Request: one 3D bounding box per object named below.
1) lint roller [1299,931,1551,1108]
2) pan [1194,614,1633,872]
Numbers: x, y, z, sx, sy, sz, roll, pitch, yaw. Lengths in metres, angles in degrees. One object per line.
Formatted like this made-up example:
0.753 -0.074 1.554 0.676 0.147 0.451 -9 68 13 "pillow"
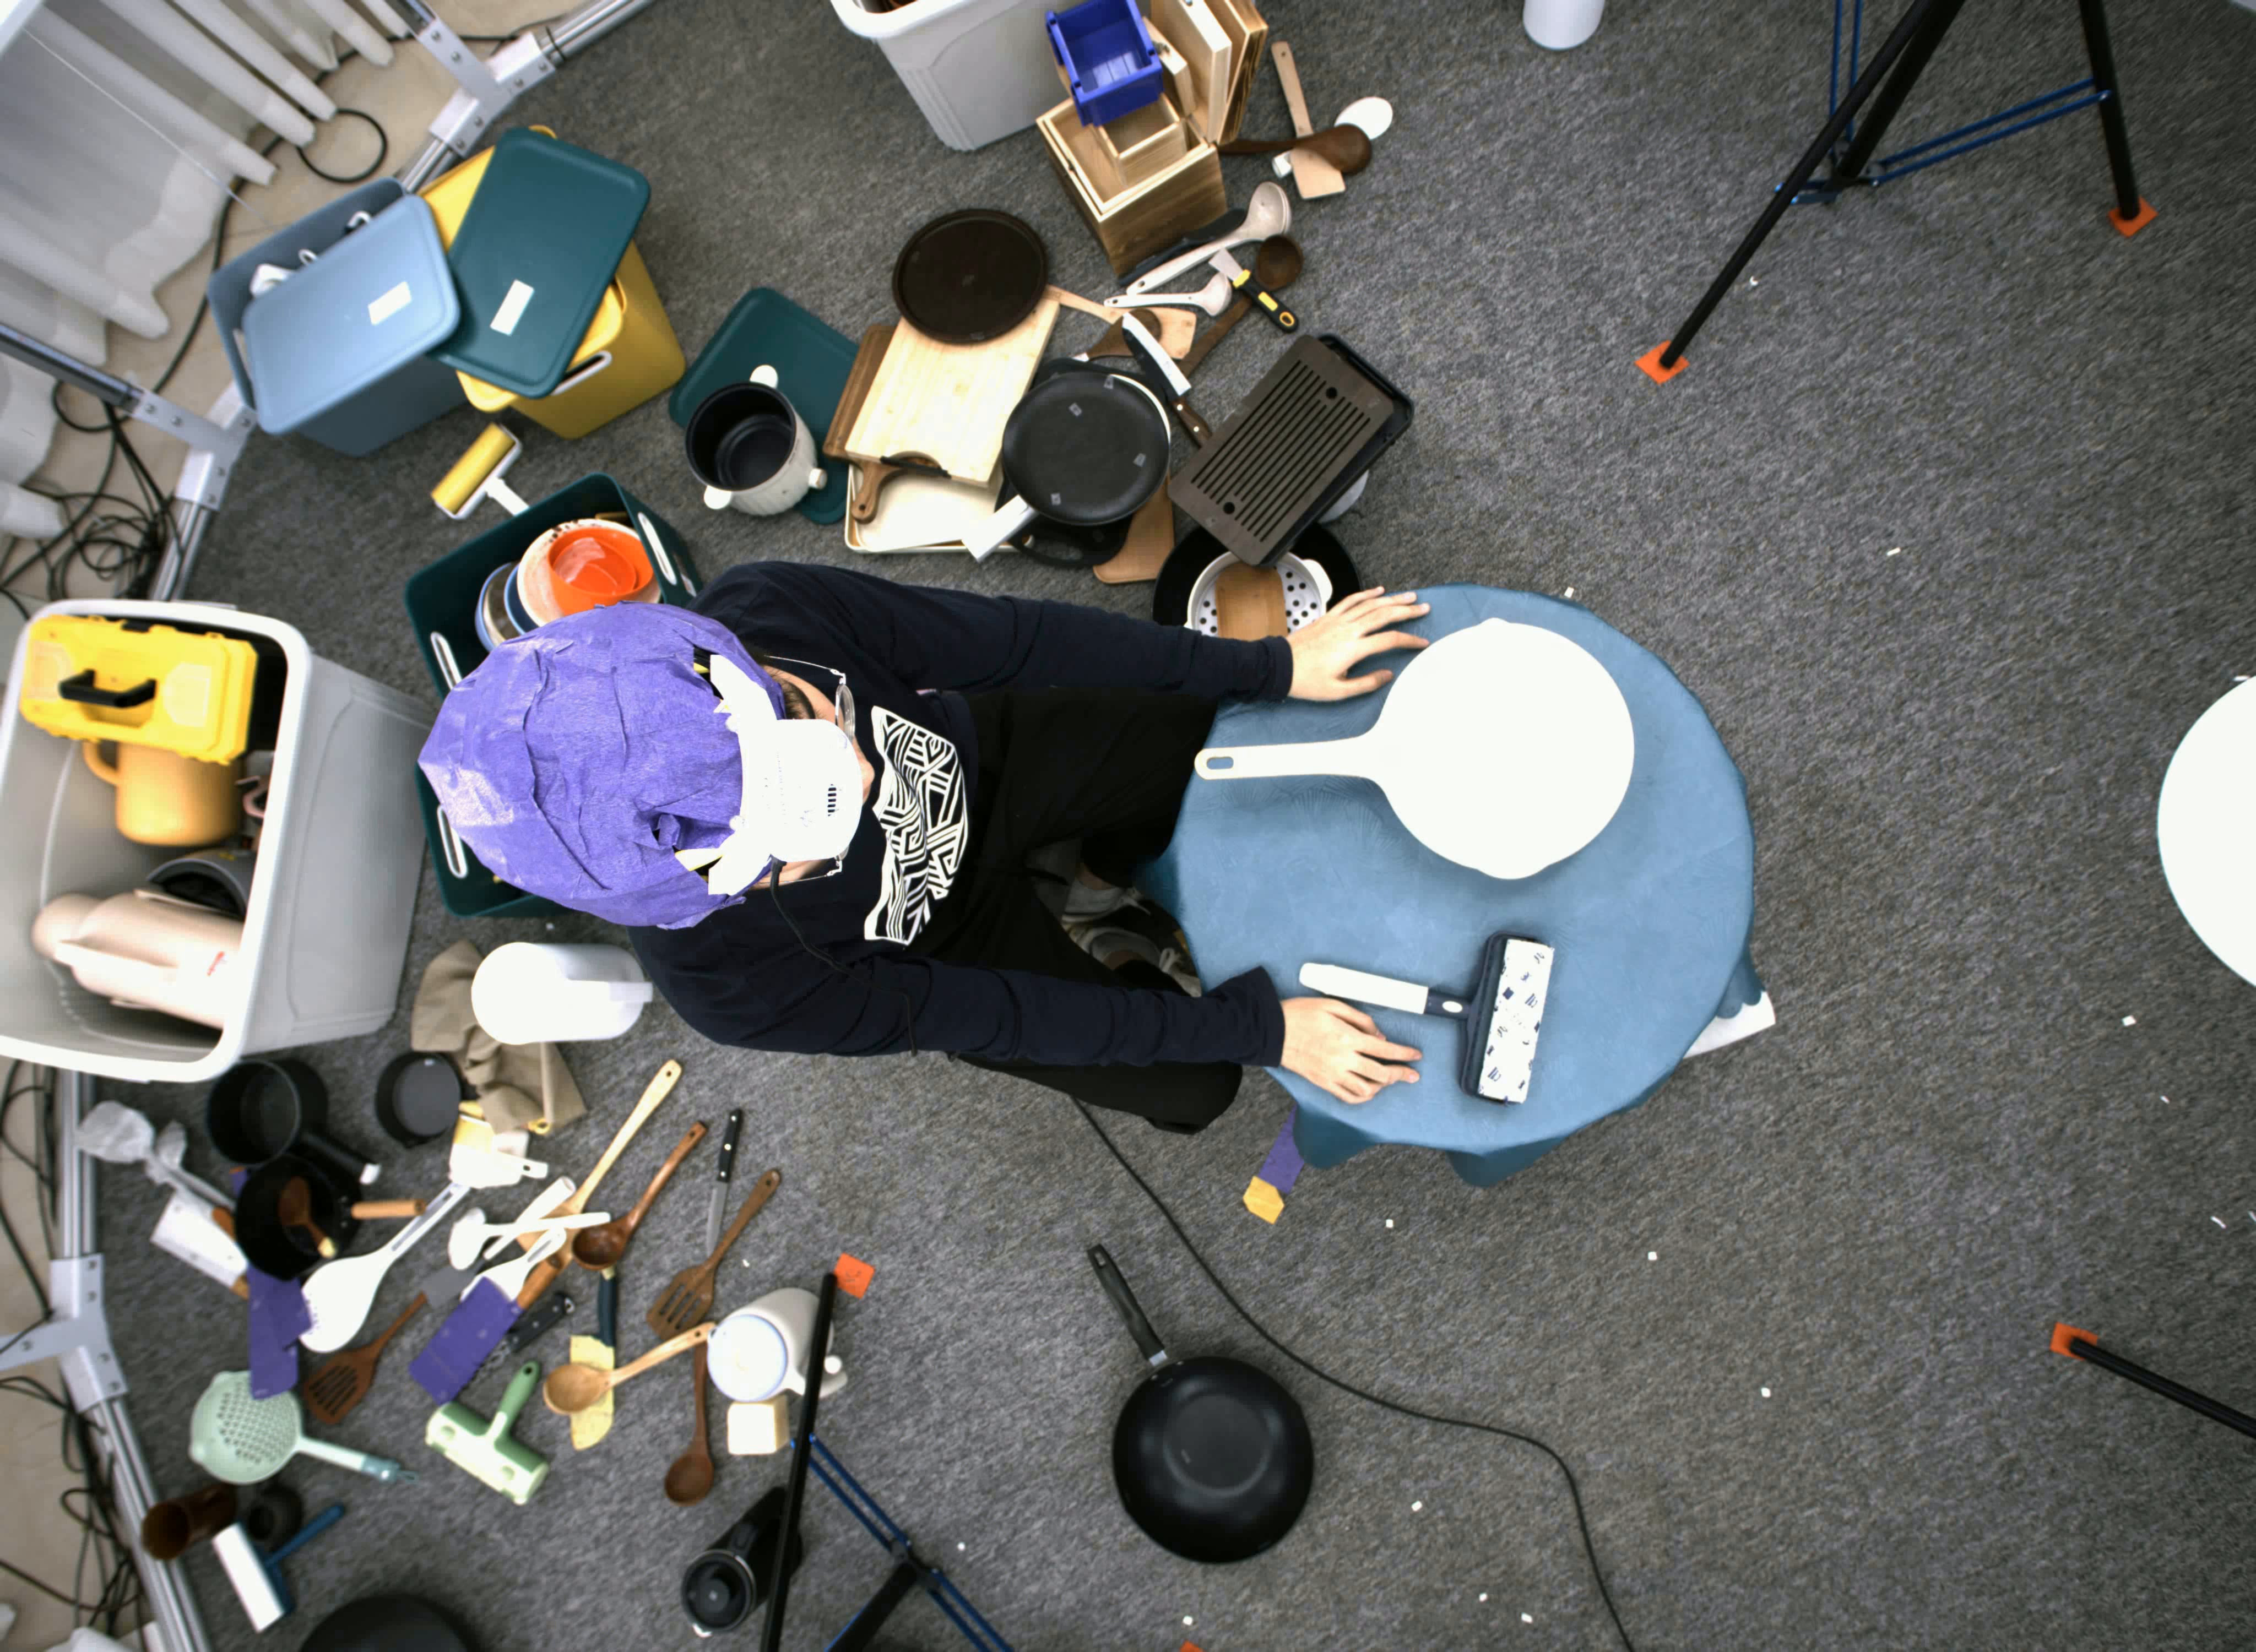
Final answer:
0.297 0.179 1.428 0.247 0.050 0.176 10 90 13 "lint roller"
0.289 -0.076 1.414 0.437 0.102 0.262 -5 87 10 "pan"
